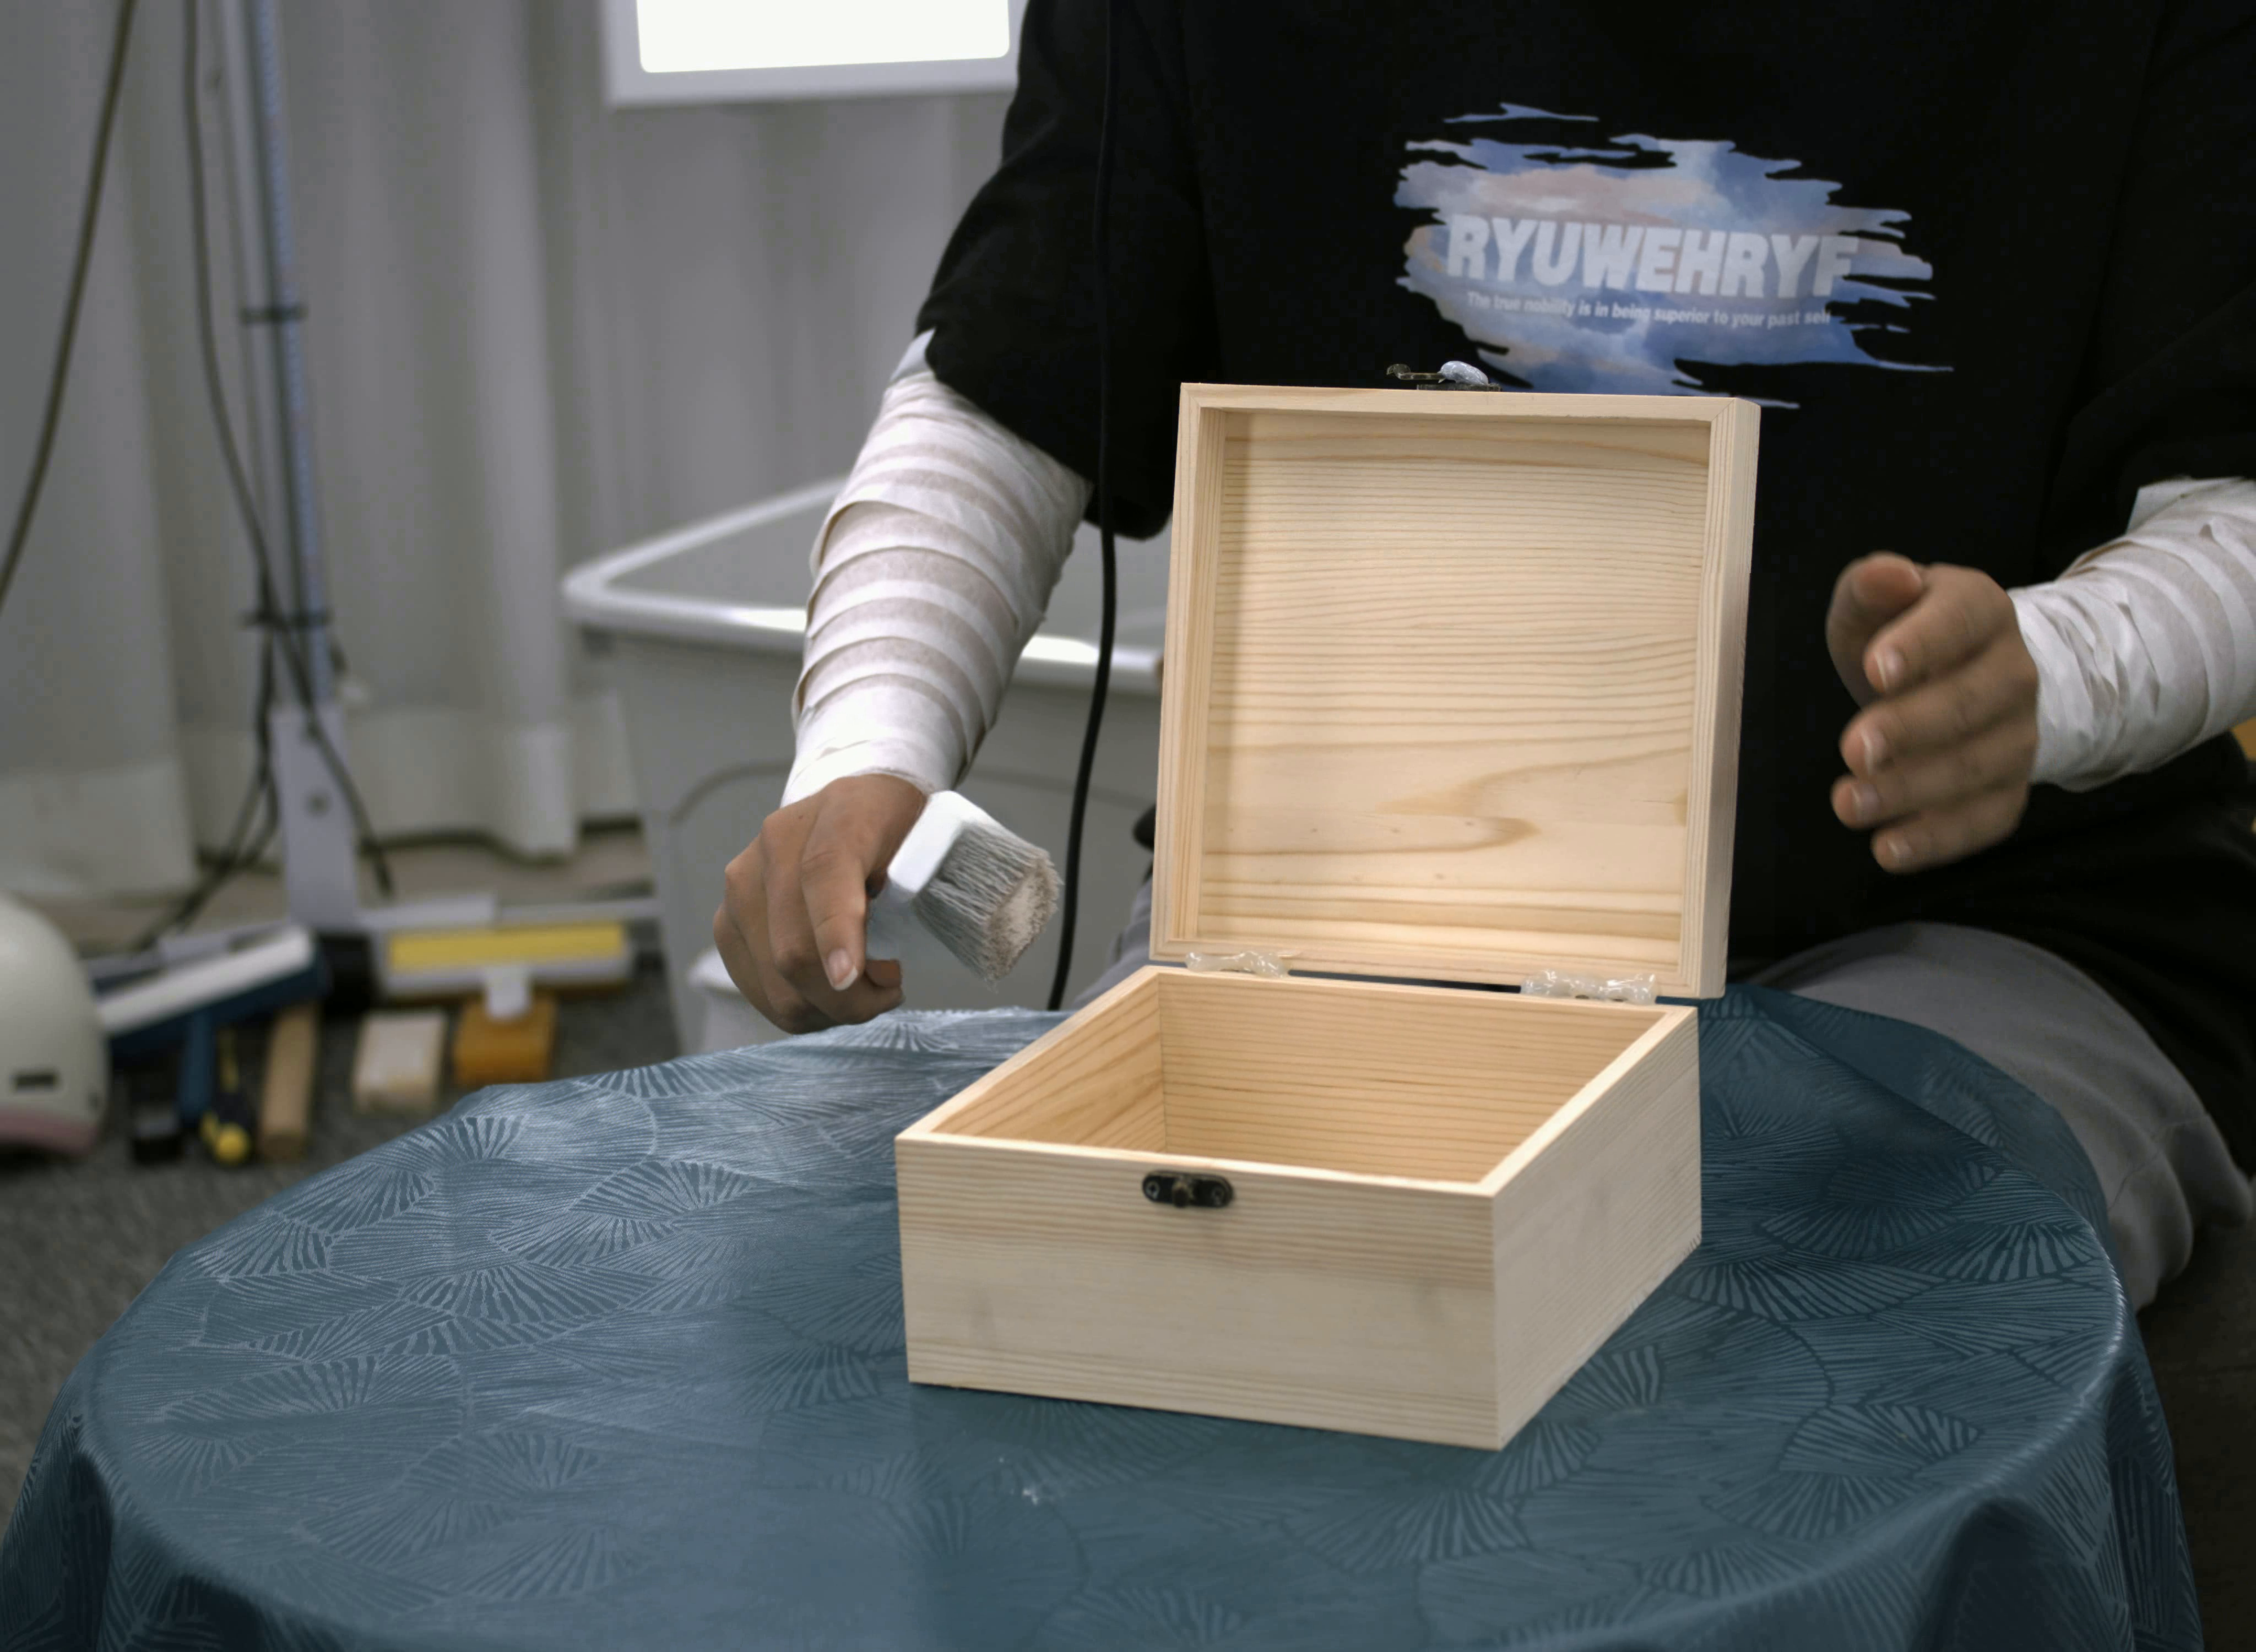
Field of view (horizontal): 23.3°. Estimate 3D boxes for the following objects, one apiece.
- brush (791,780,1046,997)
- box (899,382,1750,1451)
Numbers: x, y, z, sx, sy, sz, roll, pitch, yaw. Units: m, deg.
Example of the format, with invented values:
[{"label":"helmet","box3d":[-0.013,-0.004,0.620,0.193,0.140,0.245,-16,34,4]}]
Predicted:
[{"label":"brush","box3d":[-0.065,0.034,1.703,0.050,0.034,0.242,37,-17,-2]},{"label":"box","box3d":[0.062,0.014,1.600,0.182,0.252,0.266,2,14,23]}]
